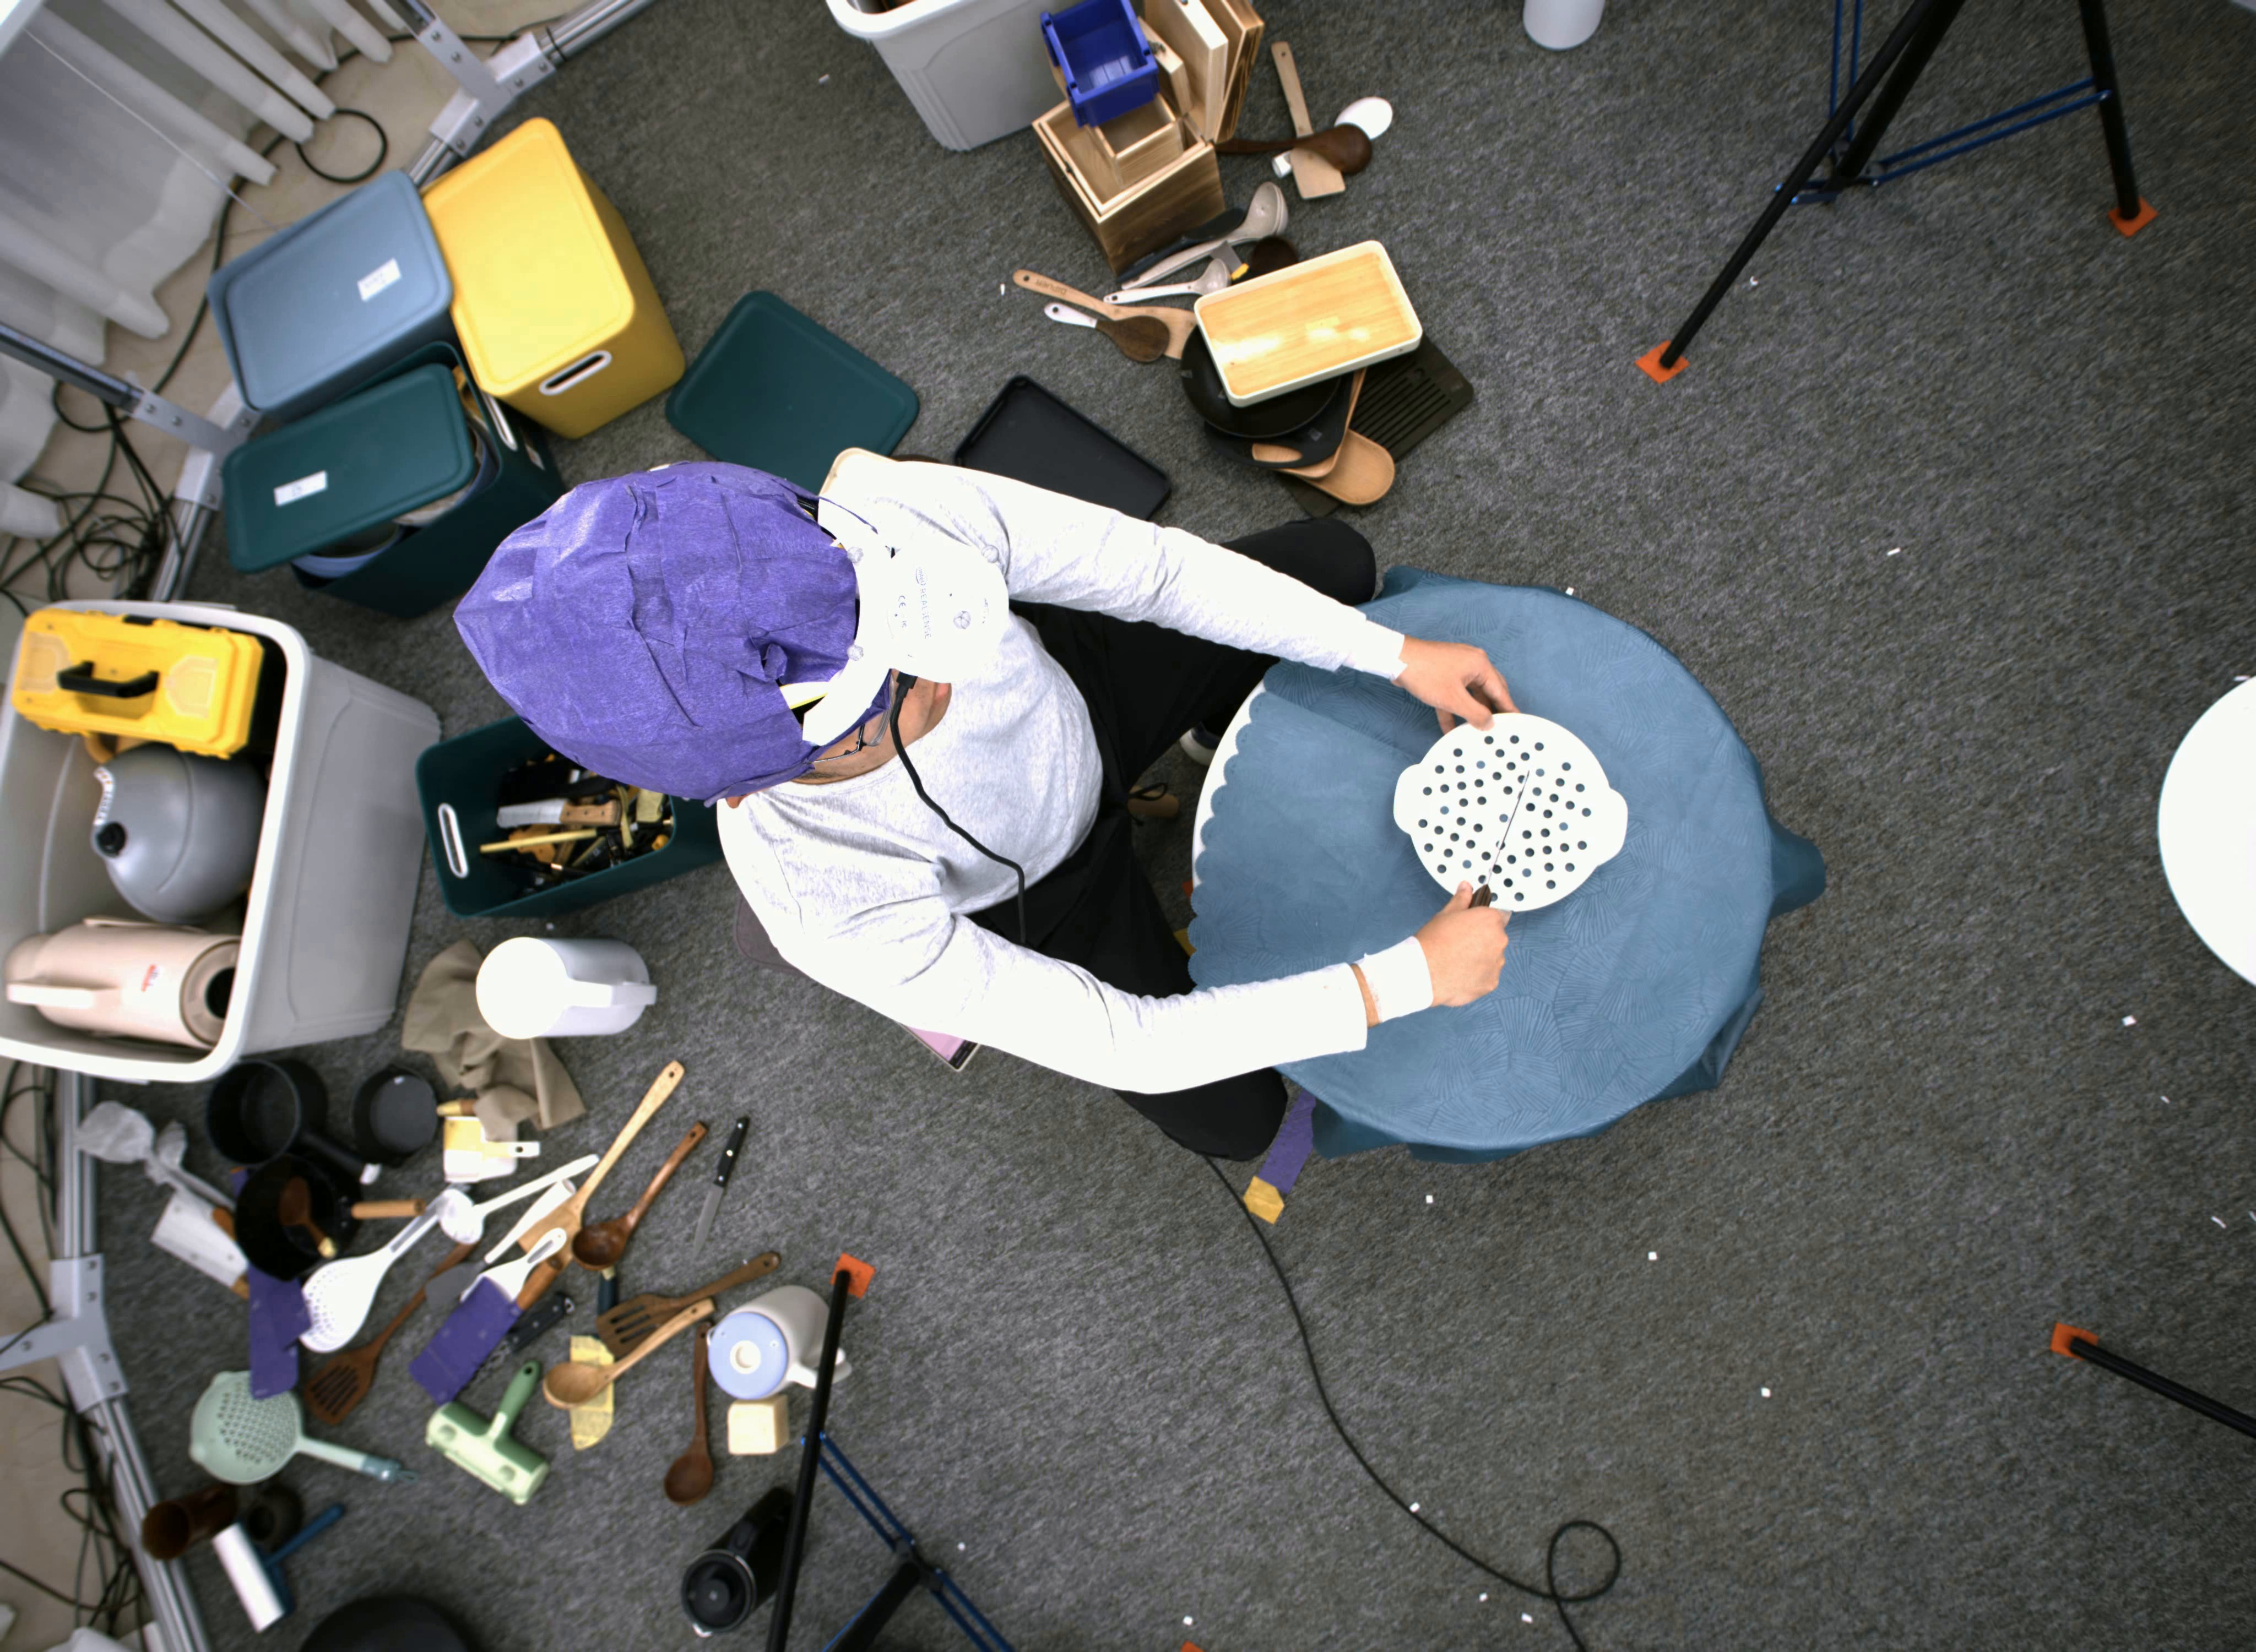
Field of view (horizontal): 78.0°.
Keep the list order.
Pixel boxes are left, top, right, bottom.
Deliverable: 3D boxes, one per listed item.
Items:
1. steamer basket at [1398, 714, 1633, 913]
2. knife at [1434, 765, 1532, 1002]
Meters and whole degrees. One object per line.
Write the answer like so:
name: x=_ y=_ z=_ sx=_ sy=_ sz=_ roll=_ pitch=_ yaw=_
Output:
steamer basket: x=0.393 y=-0.013 z=1.408 sx=0.231 sy=0.069 sz=0.201 roll=8 pitch=87 yaw=12
knife: x=0.350 y=0.048 z=1.333 sx=0.020 sy=0.051 sz=0.283 roll=24 pitch=64 yaw=8
